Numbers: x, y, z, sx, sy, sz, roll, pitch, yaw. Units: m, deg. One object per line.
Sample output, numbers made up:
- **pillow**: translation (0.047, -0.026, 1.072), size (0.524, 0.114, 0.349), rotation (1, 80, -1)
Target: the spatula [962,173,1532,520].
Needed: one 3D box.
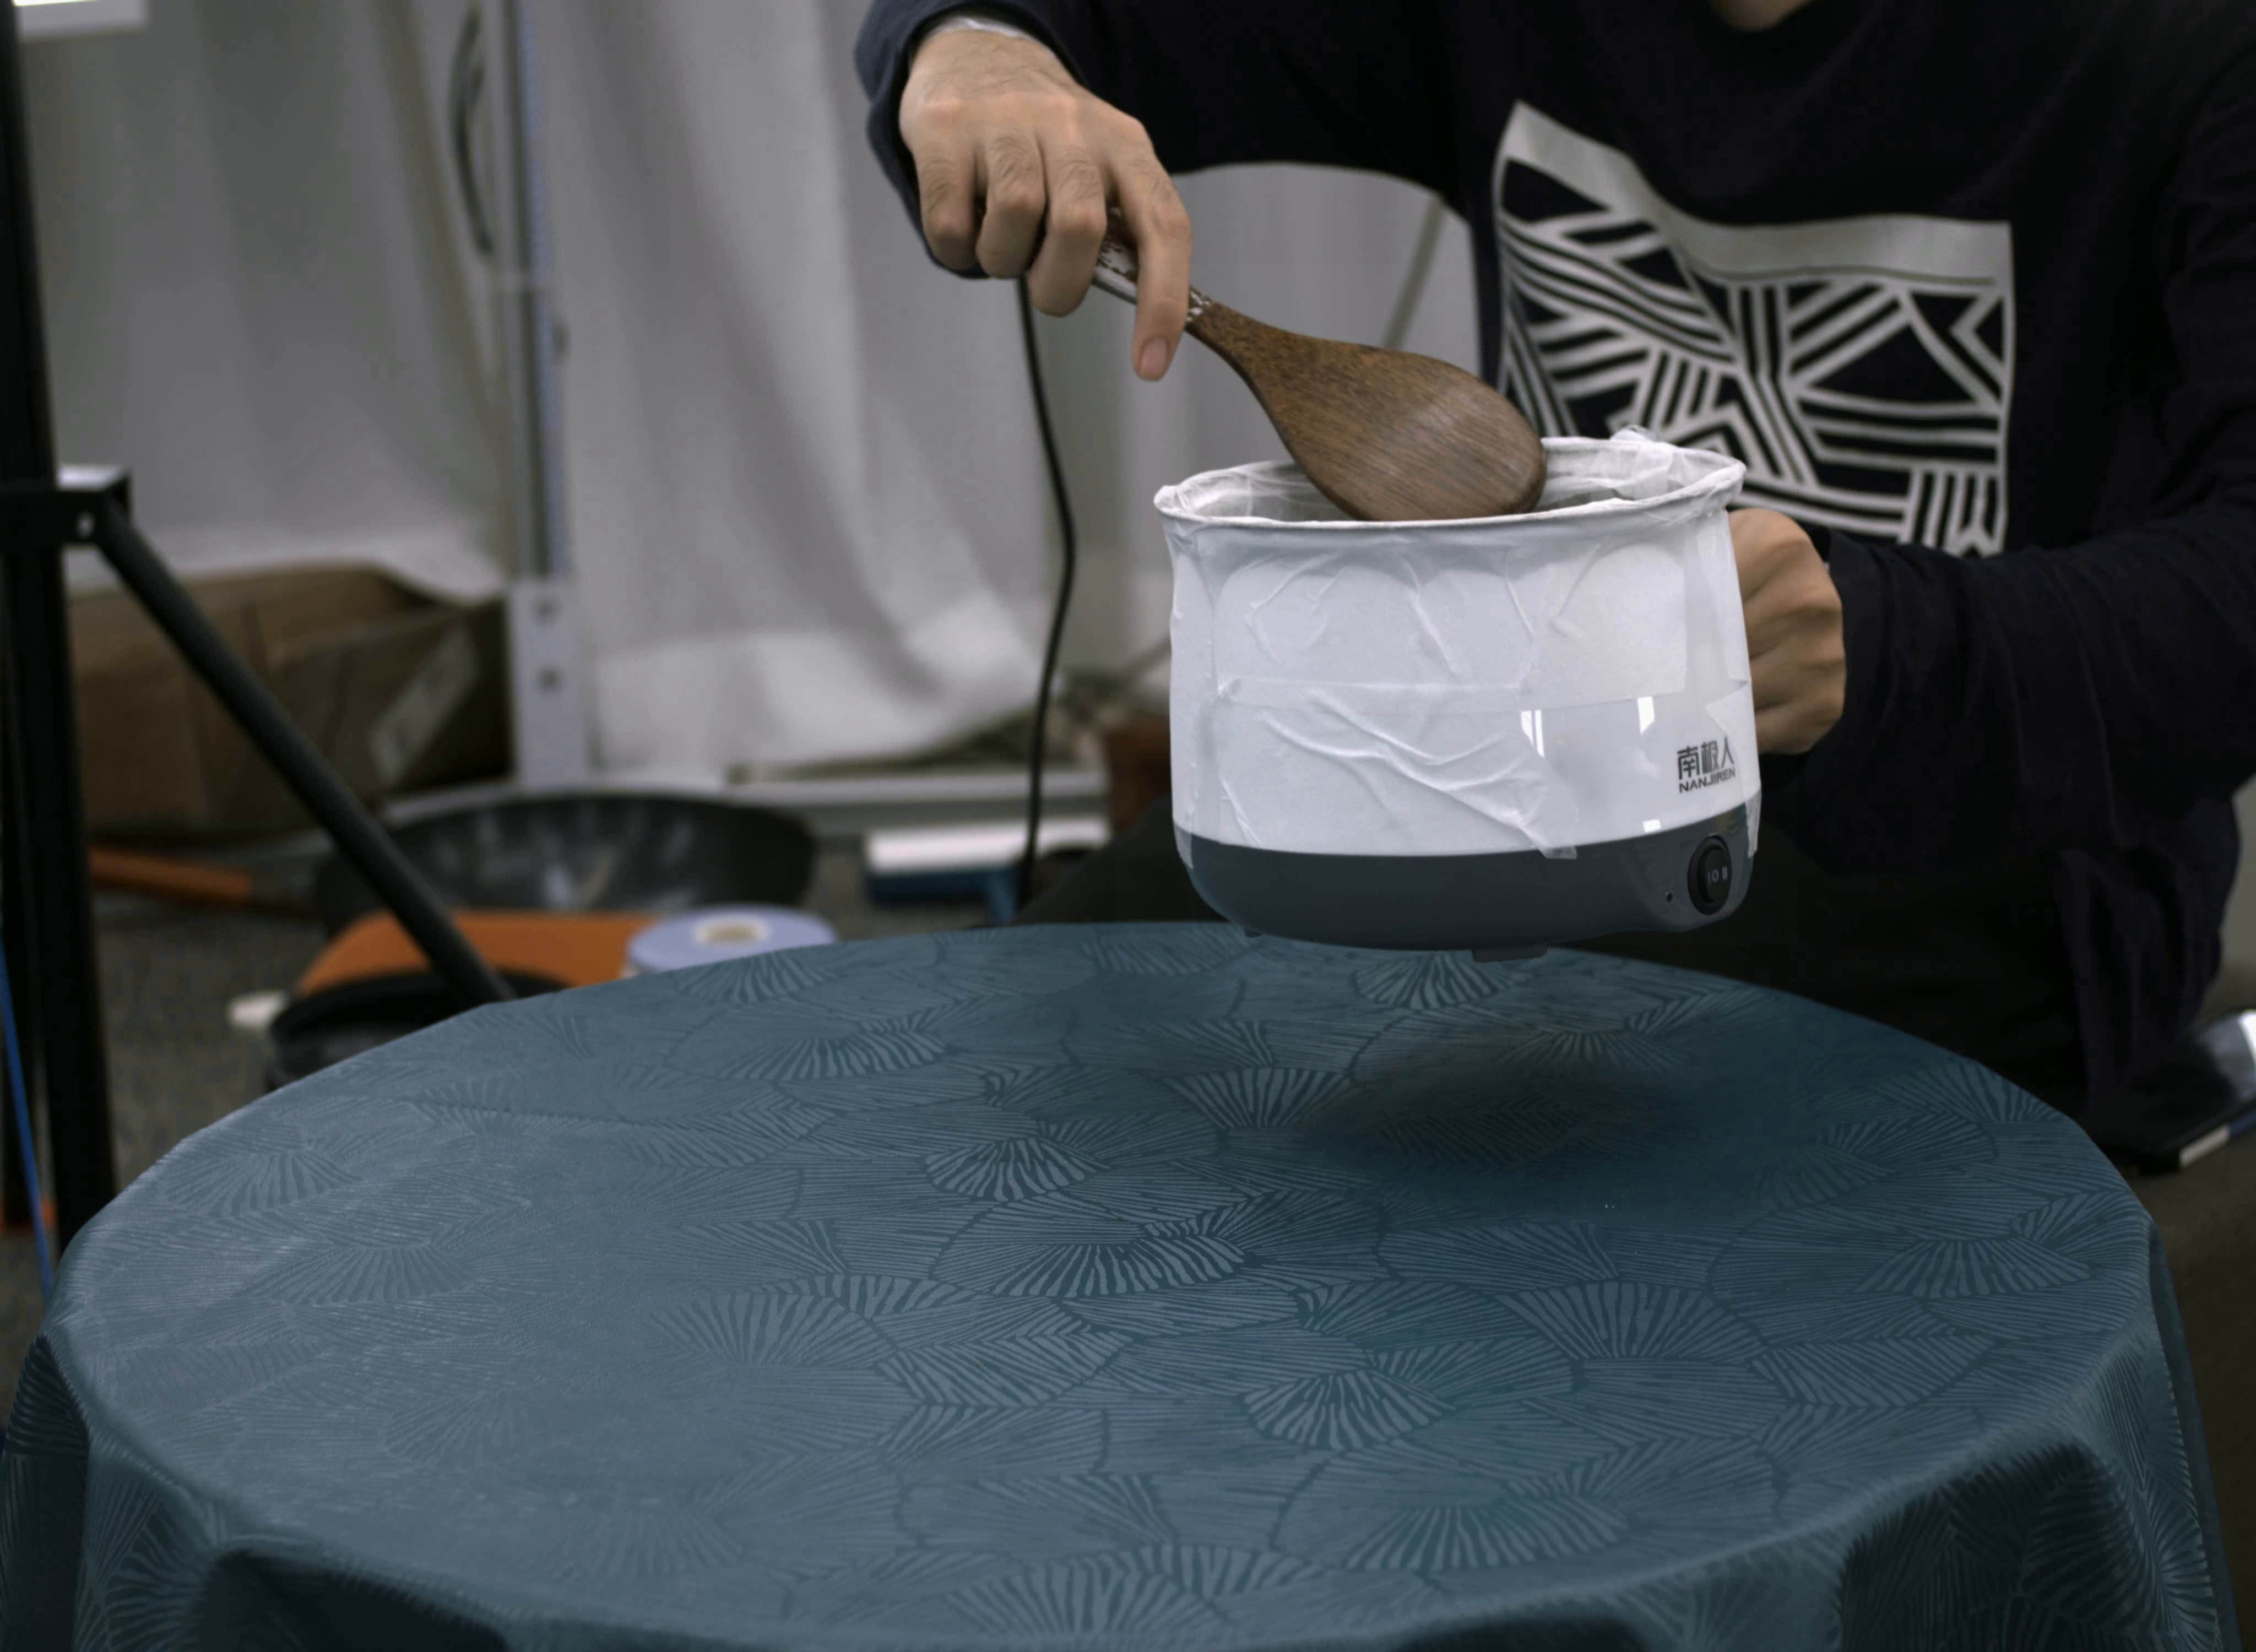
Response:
- **spatula**: translation (0.035, -0.151, 1.671), size (0.219, 0.009, 0.071), rotation (34, 53, 21)

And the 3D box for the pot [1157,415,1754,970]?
- **pot**: translation (0.115, -0.046, 1.612), size (0.182, 0.137, 0.228), rotation (8, 16, 37)
